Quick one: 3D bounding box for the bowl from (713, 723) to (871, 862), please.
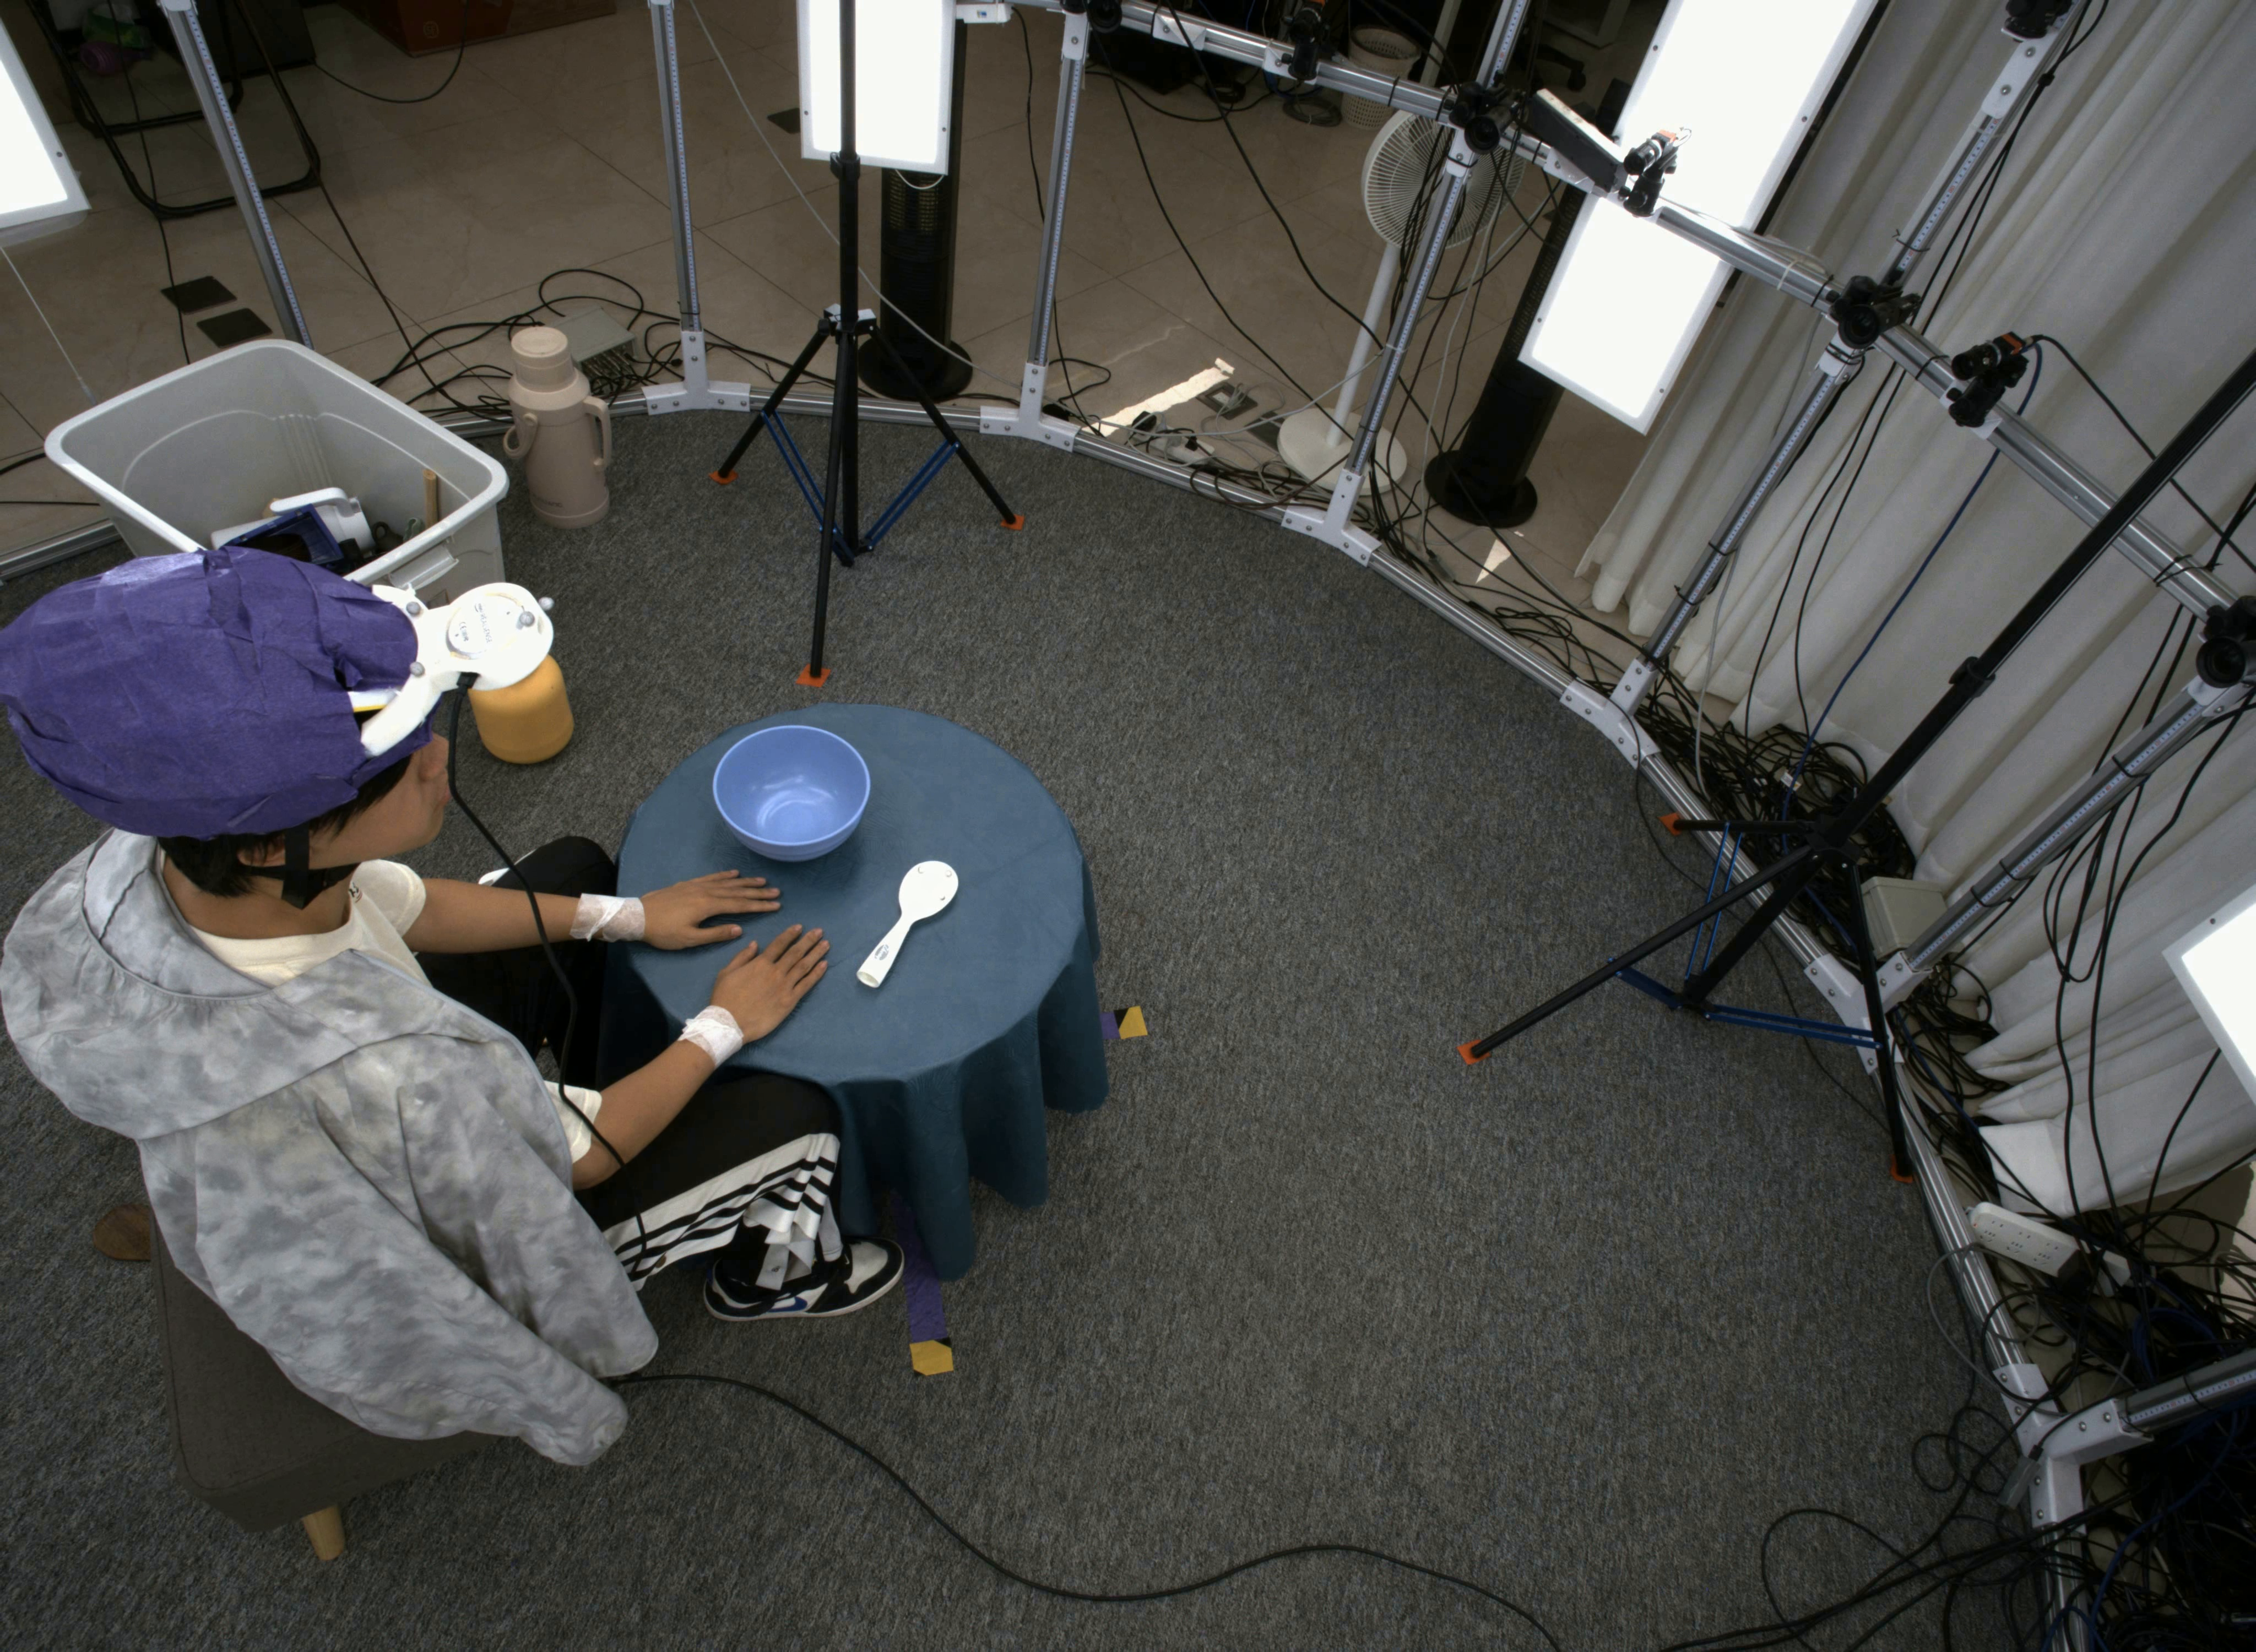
[{"bbox_3d":[-0.434,-0.028,1.682,0.196,0.097,0.193,9,52,-9],"label":"bowl"}]

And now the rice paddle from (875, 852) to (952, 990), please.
[{"bbox_3d":[-0.278,0.112,1.666,0.067,0.030,0.203,9,55,10],"label":"rice paddle"}]
